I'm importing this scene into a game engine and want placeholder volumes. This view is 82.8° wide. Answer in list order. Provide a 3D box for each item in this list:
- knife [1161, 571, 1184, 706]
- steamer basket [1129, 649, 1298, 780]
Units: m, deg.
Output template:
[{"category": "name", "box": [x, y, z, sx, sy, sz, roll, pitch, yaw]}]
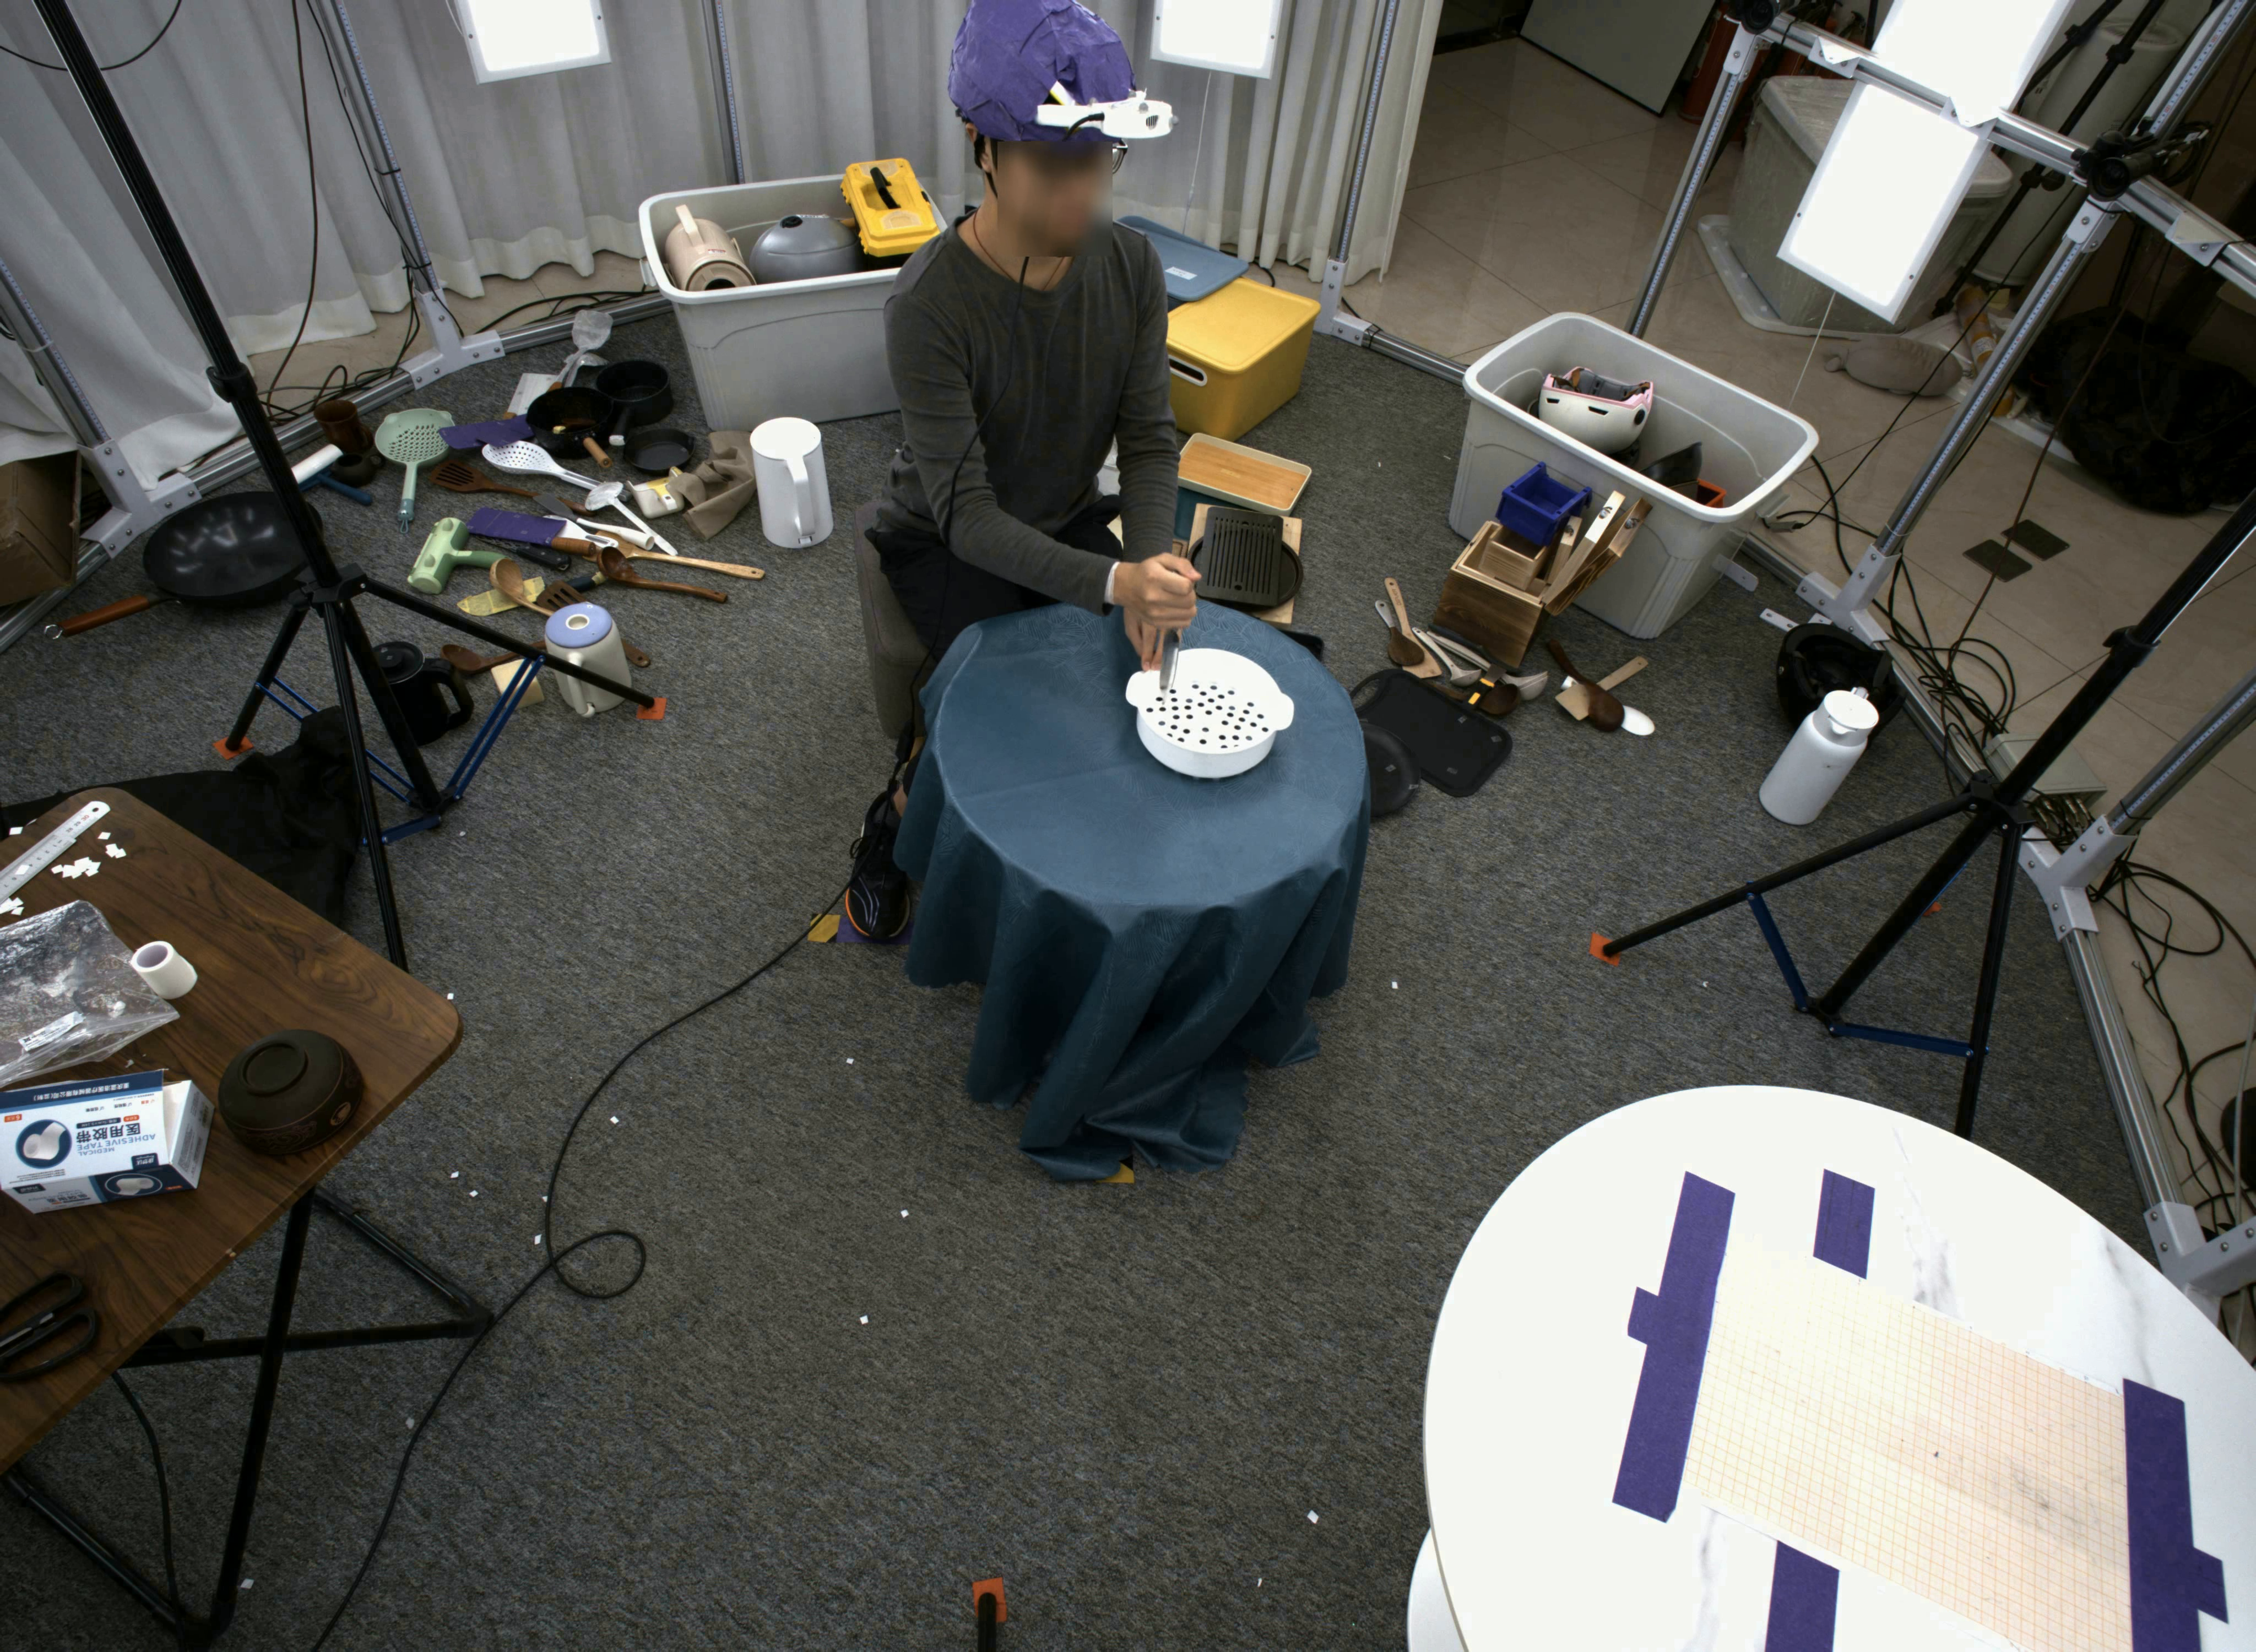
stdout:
[{"category": "knife", "box": [0.056, -0.241, 1.679, 0.024, 0.232, 0.016, 17, 52, 12]}, {"category": "steamer basket", "box": [0.115, -0.153, 1.764, 0.231, 0.067, 0.206, 10, 49, 6]}]
